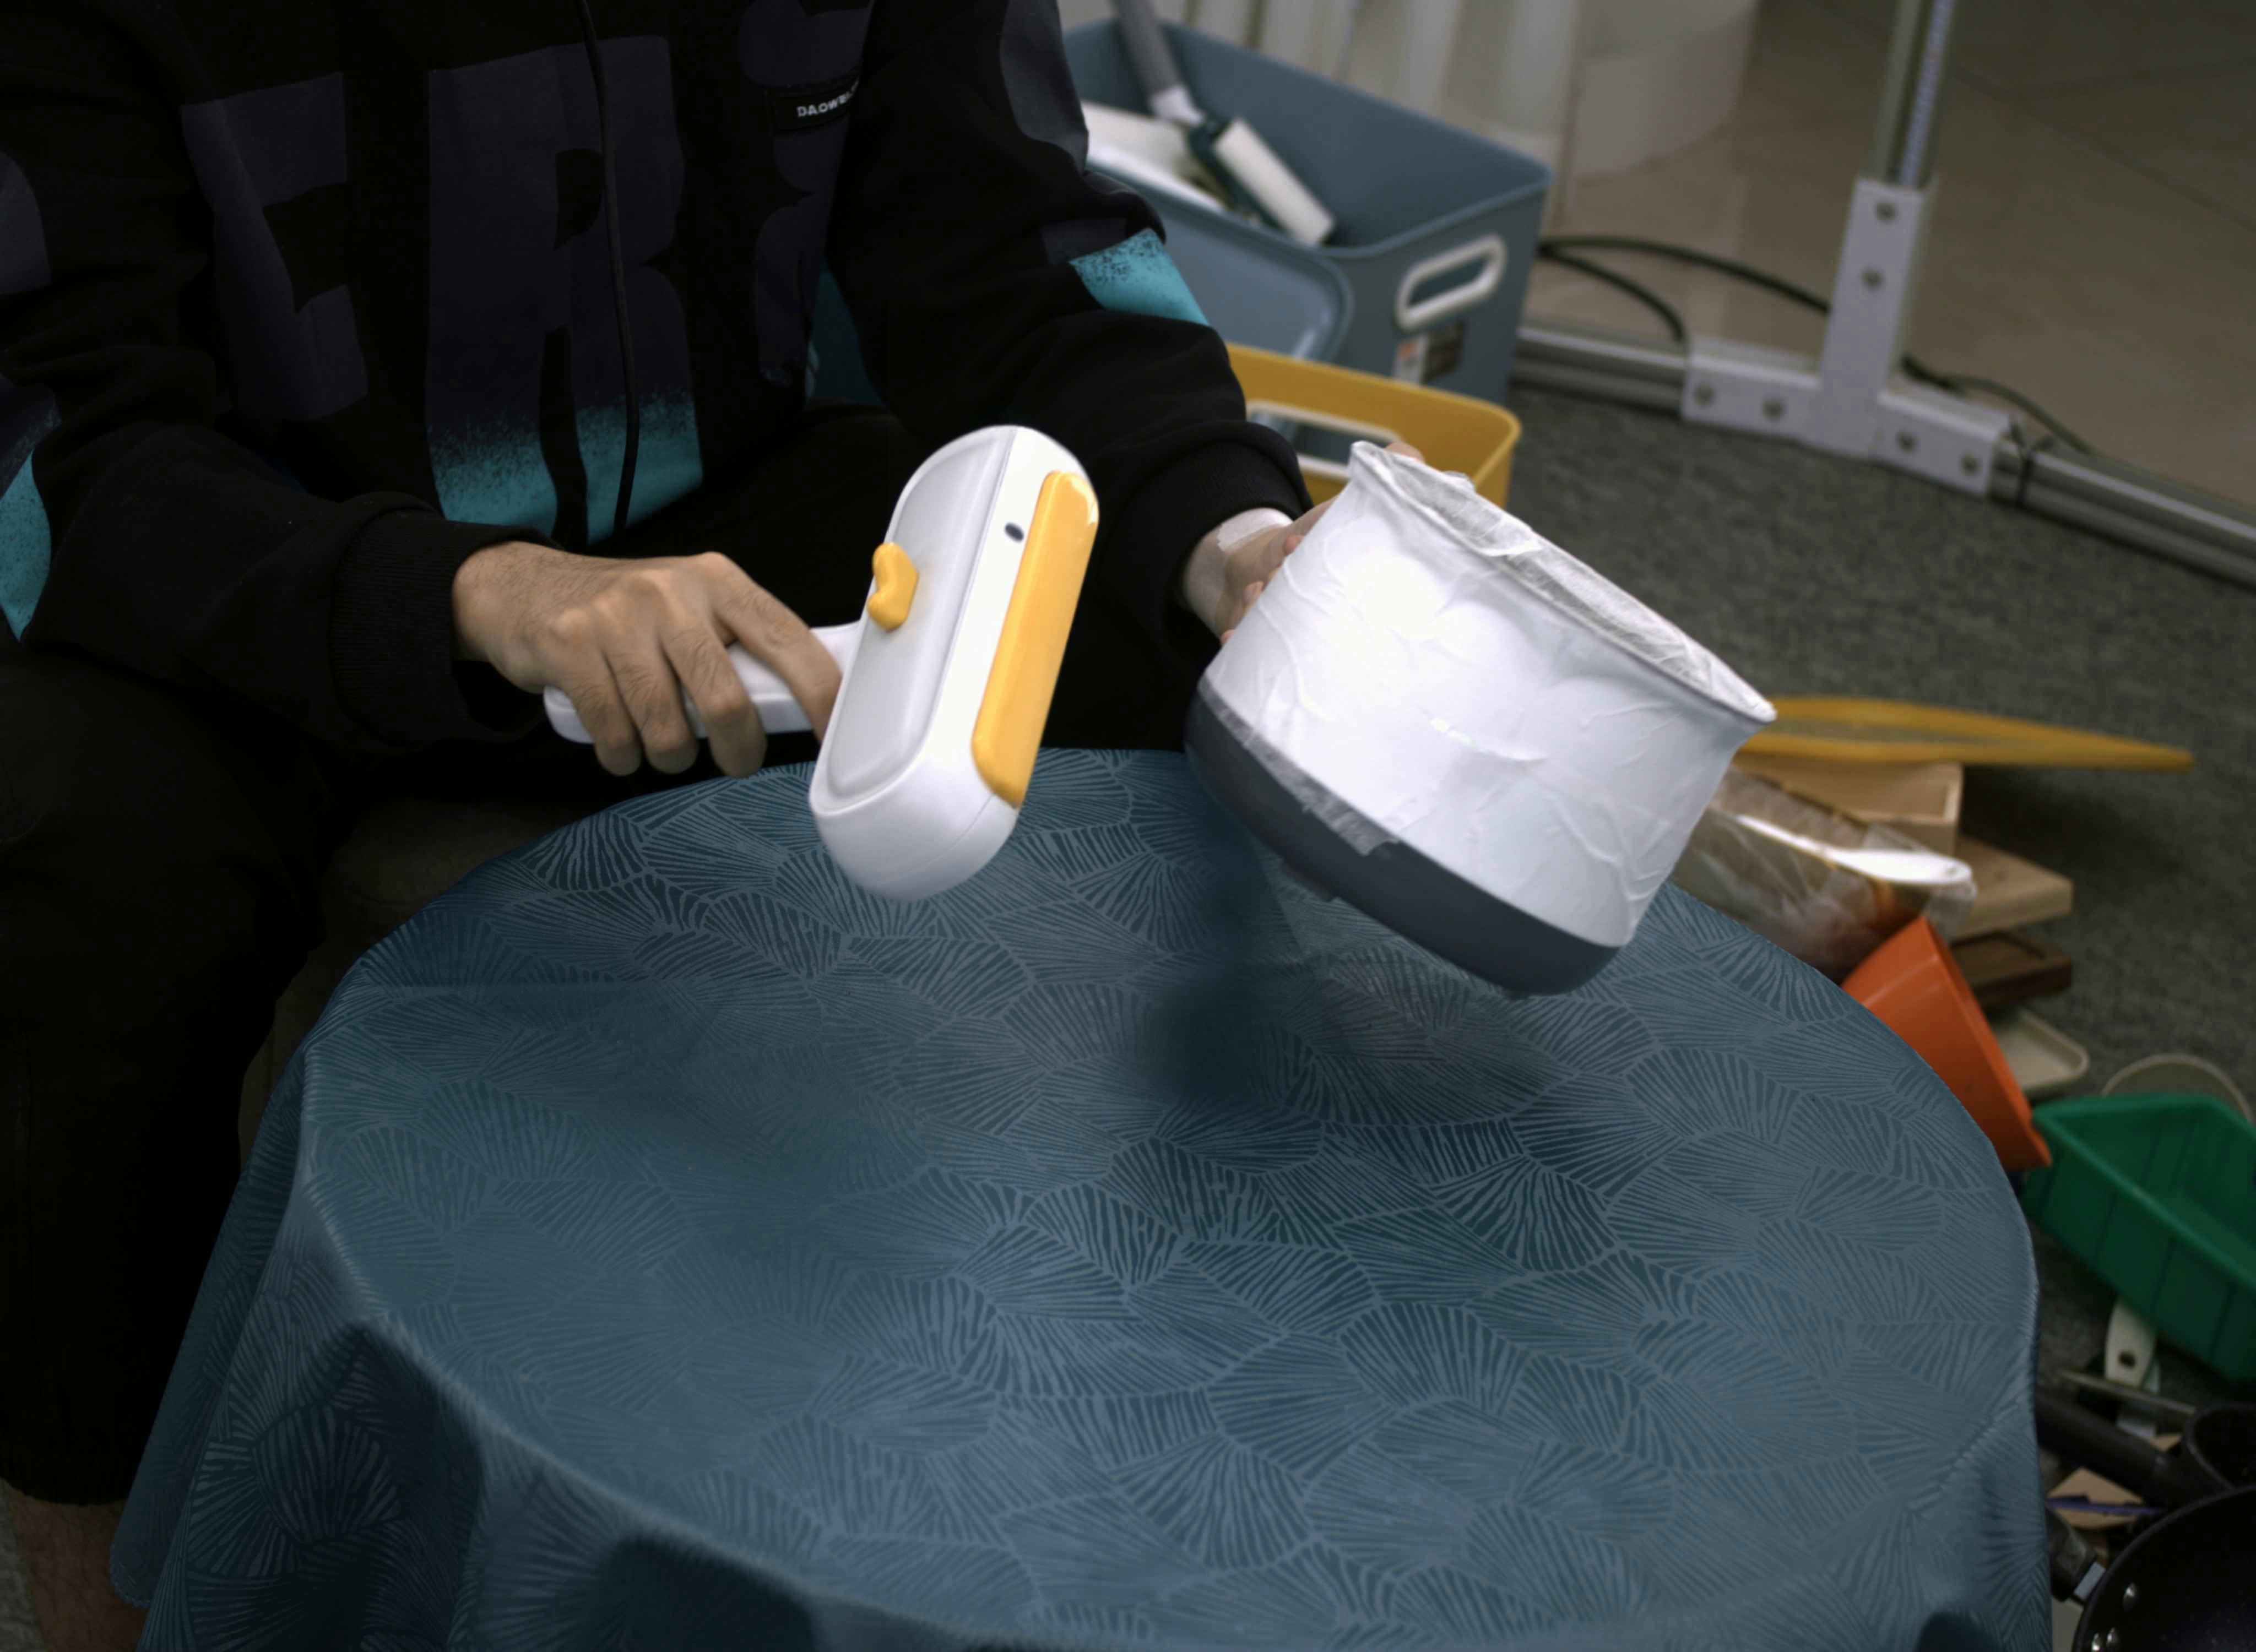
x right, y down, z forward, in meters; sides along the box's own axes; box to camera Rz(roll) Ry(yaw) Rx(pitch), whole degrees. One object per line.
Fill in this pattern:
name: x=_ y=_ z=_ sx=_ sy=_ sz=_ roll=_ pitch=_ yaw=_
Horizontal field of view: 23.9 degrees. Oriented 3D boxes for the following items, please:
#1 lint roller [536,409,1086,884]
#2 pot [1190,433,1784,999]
lint roller: x=-0.112 y=-0.052 z=1.828 sx=0.192 sy=0.073 sz=0.194 roll=-17 pitch=44 yaw=27
pot: x=0.112 y=-0.046 z=1.893 sx=0.177 sy=0.136 sz=0.235 roll=29 pitch=11 yaw=-29
